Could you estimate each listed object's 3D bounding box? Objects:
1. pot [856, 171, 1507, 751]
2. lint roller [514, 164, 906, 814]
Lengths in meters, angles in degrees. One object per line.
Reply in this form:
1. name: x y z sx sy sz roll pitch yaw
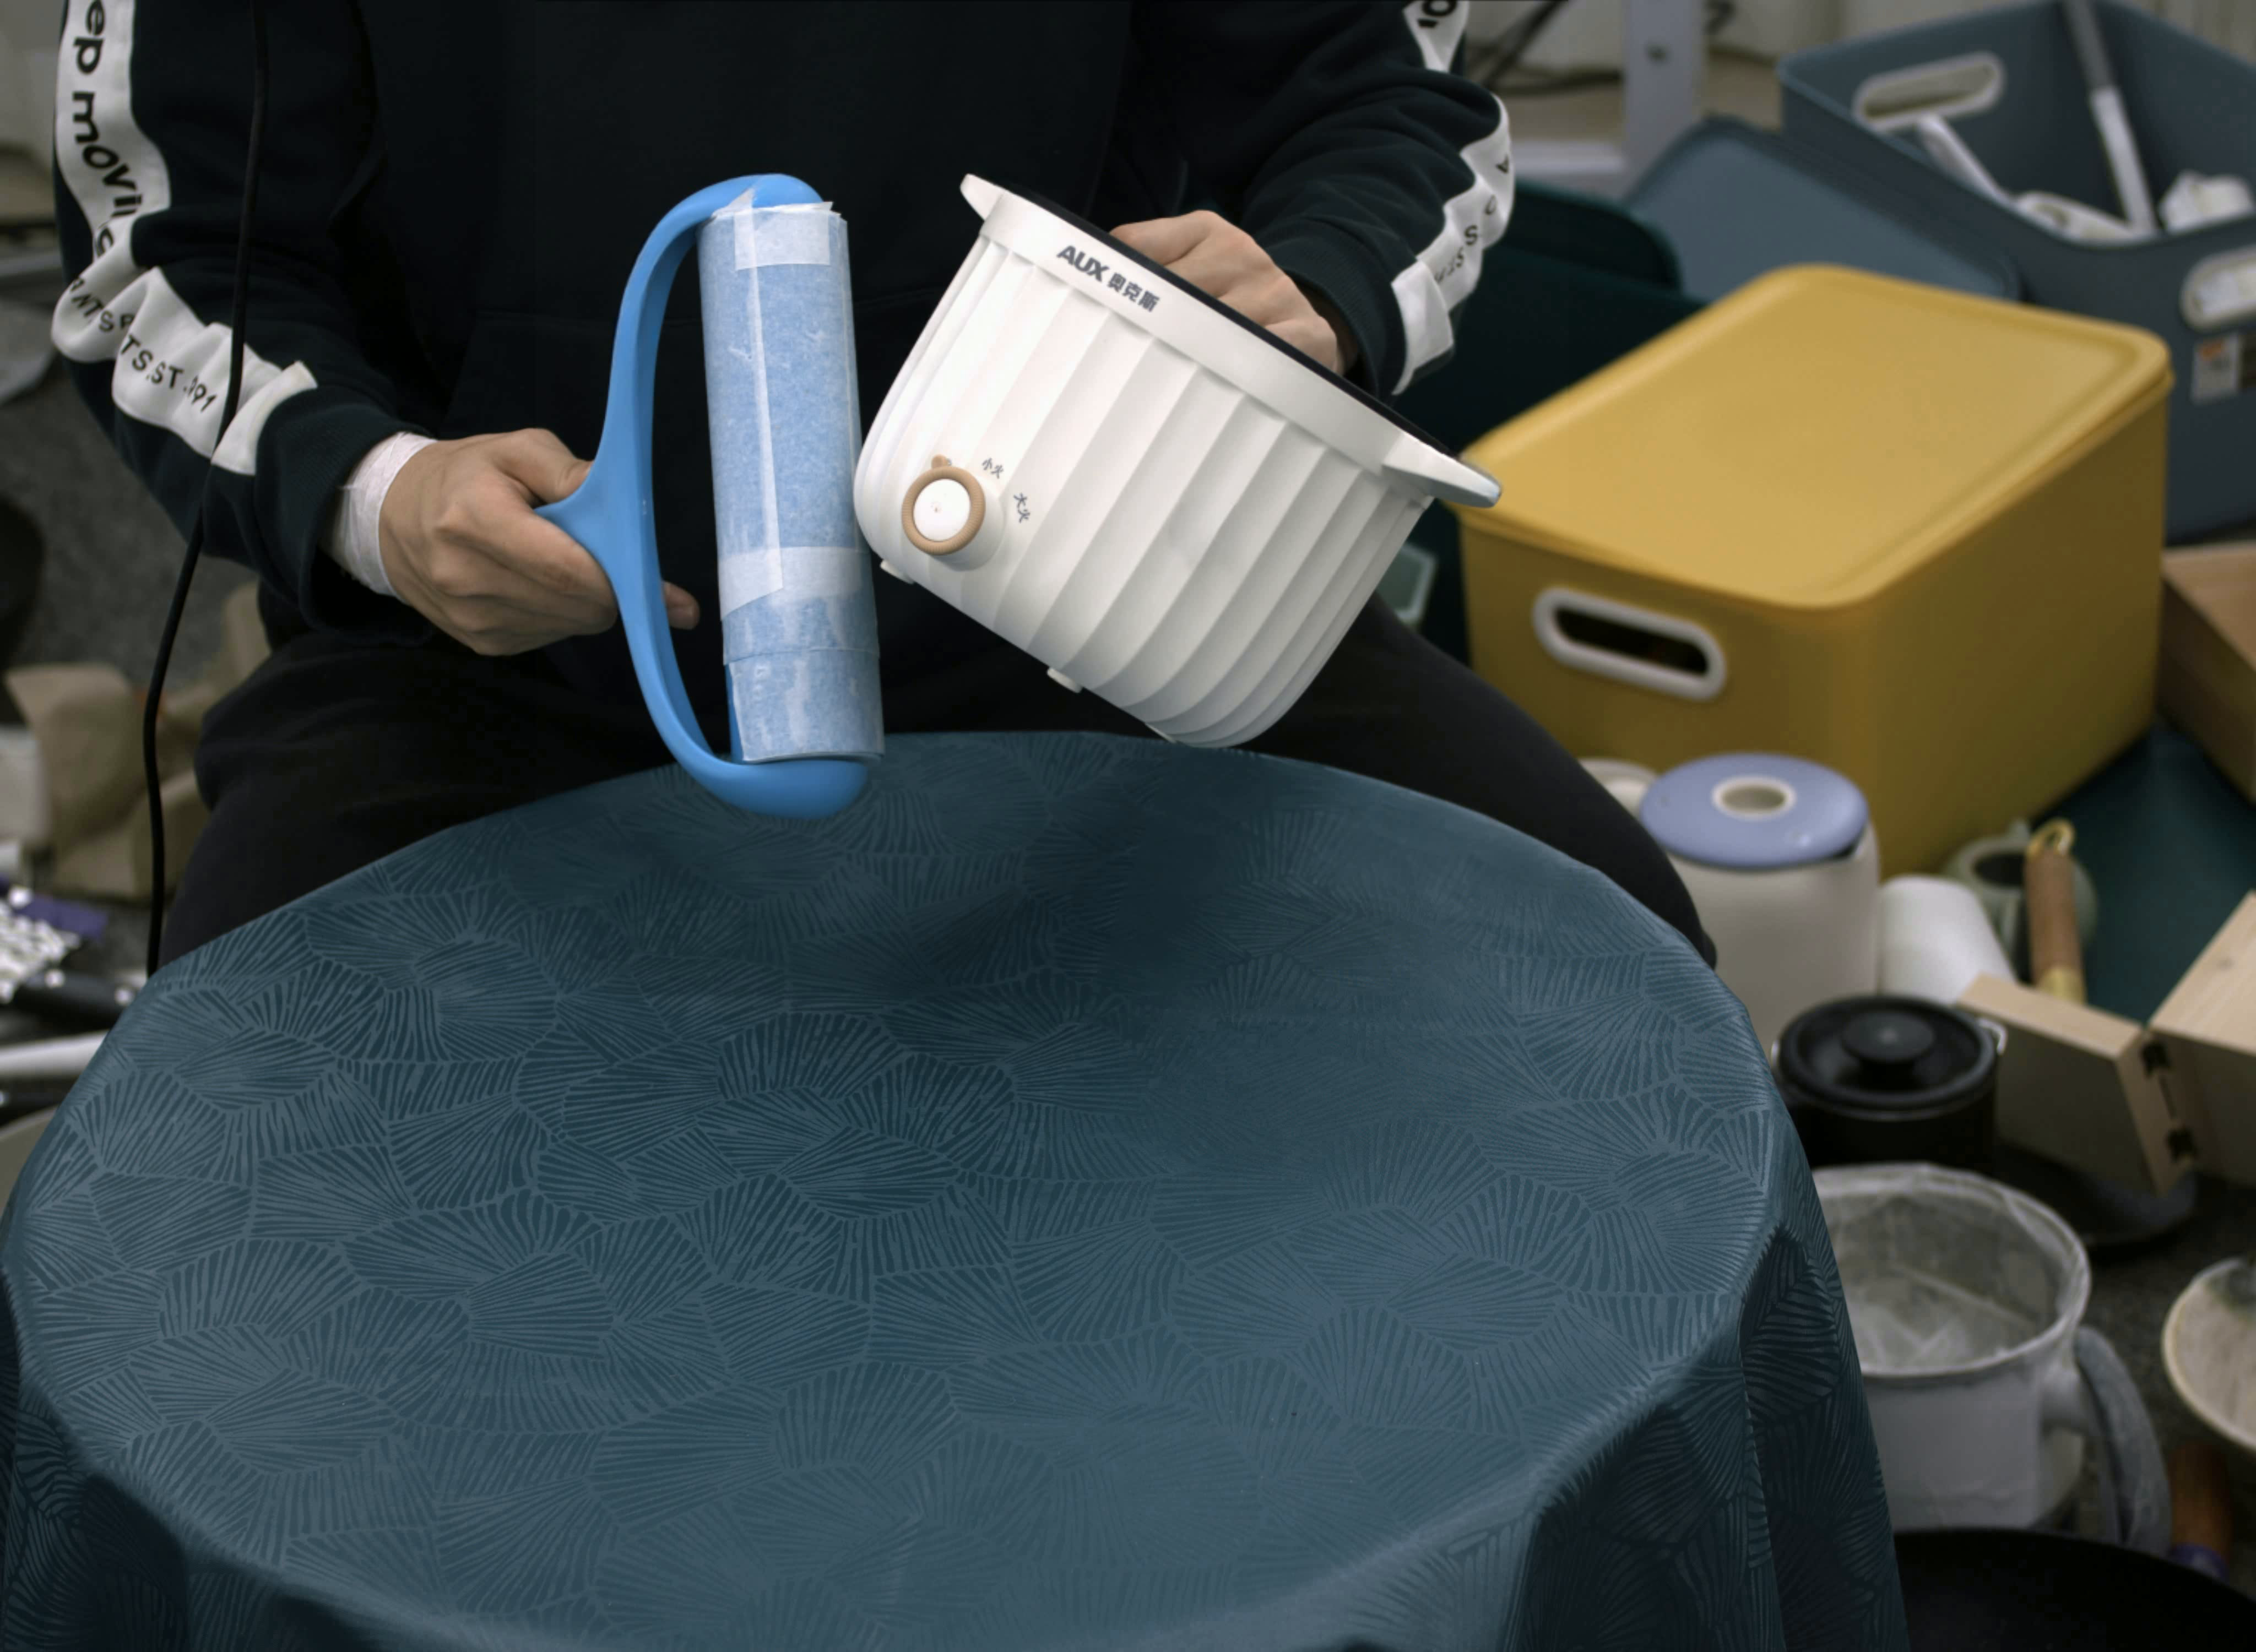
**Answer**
1. pot: 0.001 -0.117 1.927 0.240 0.143 0.189 31 -2 27
2. lint roller: -0.163 -0.105 1.988 0.178 0.231 0.068 -15 -11 31
